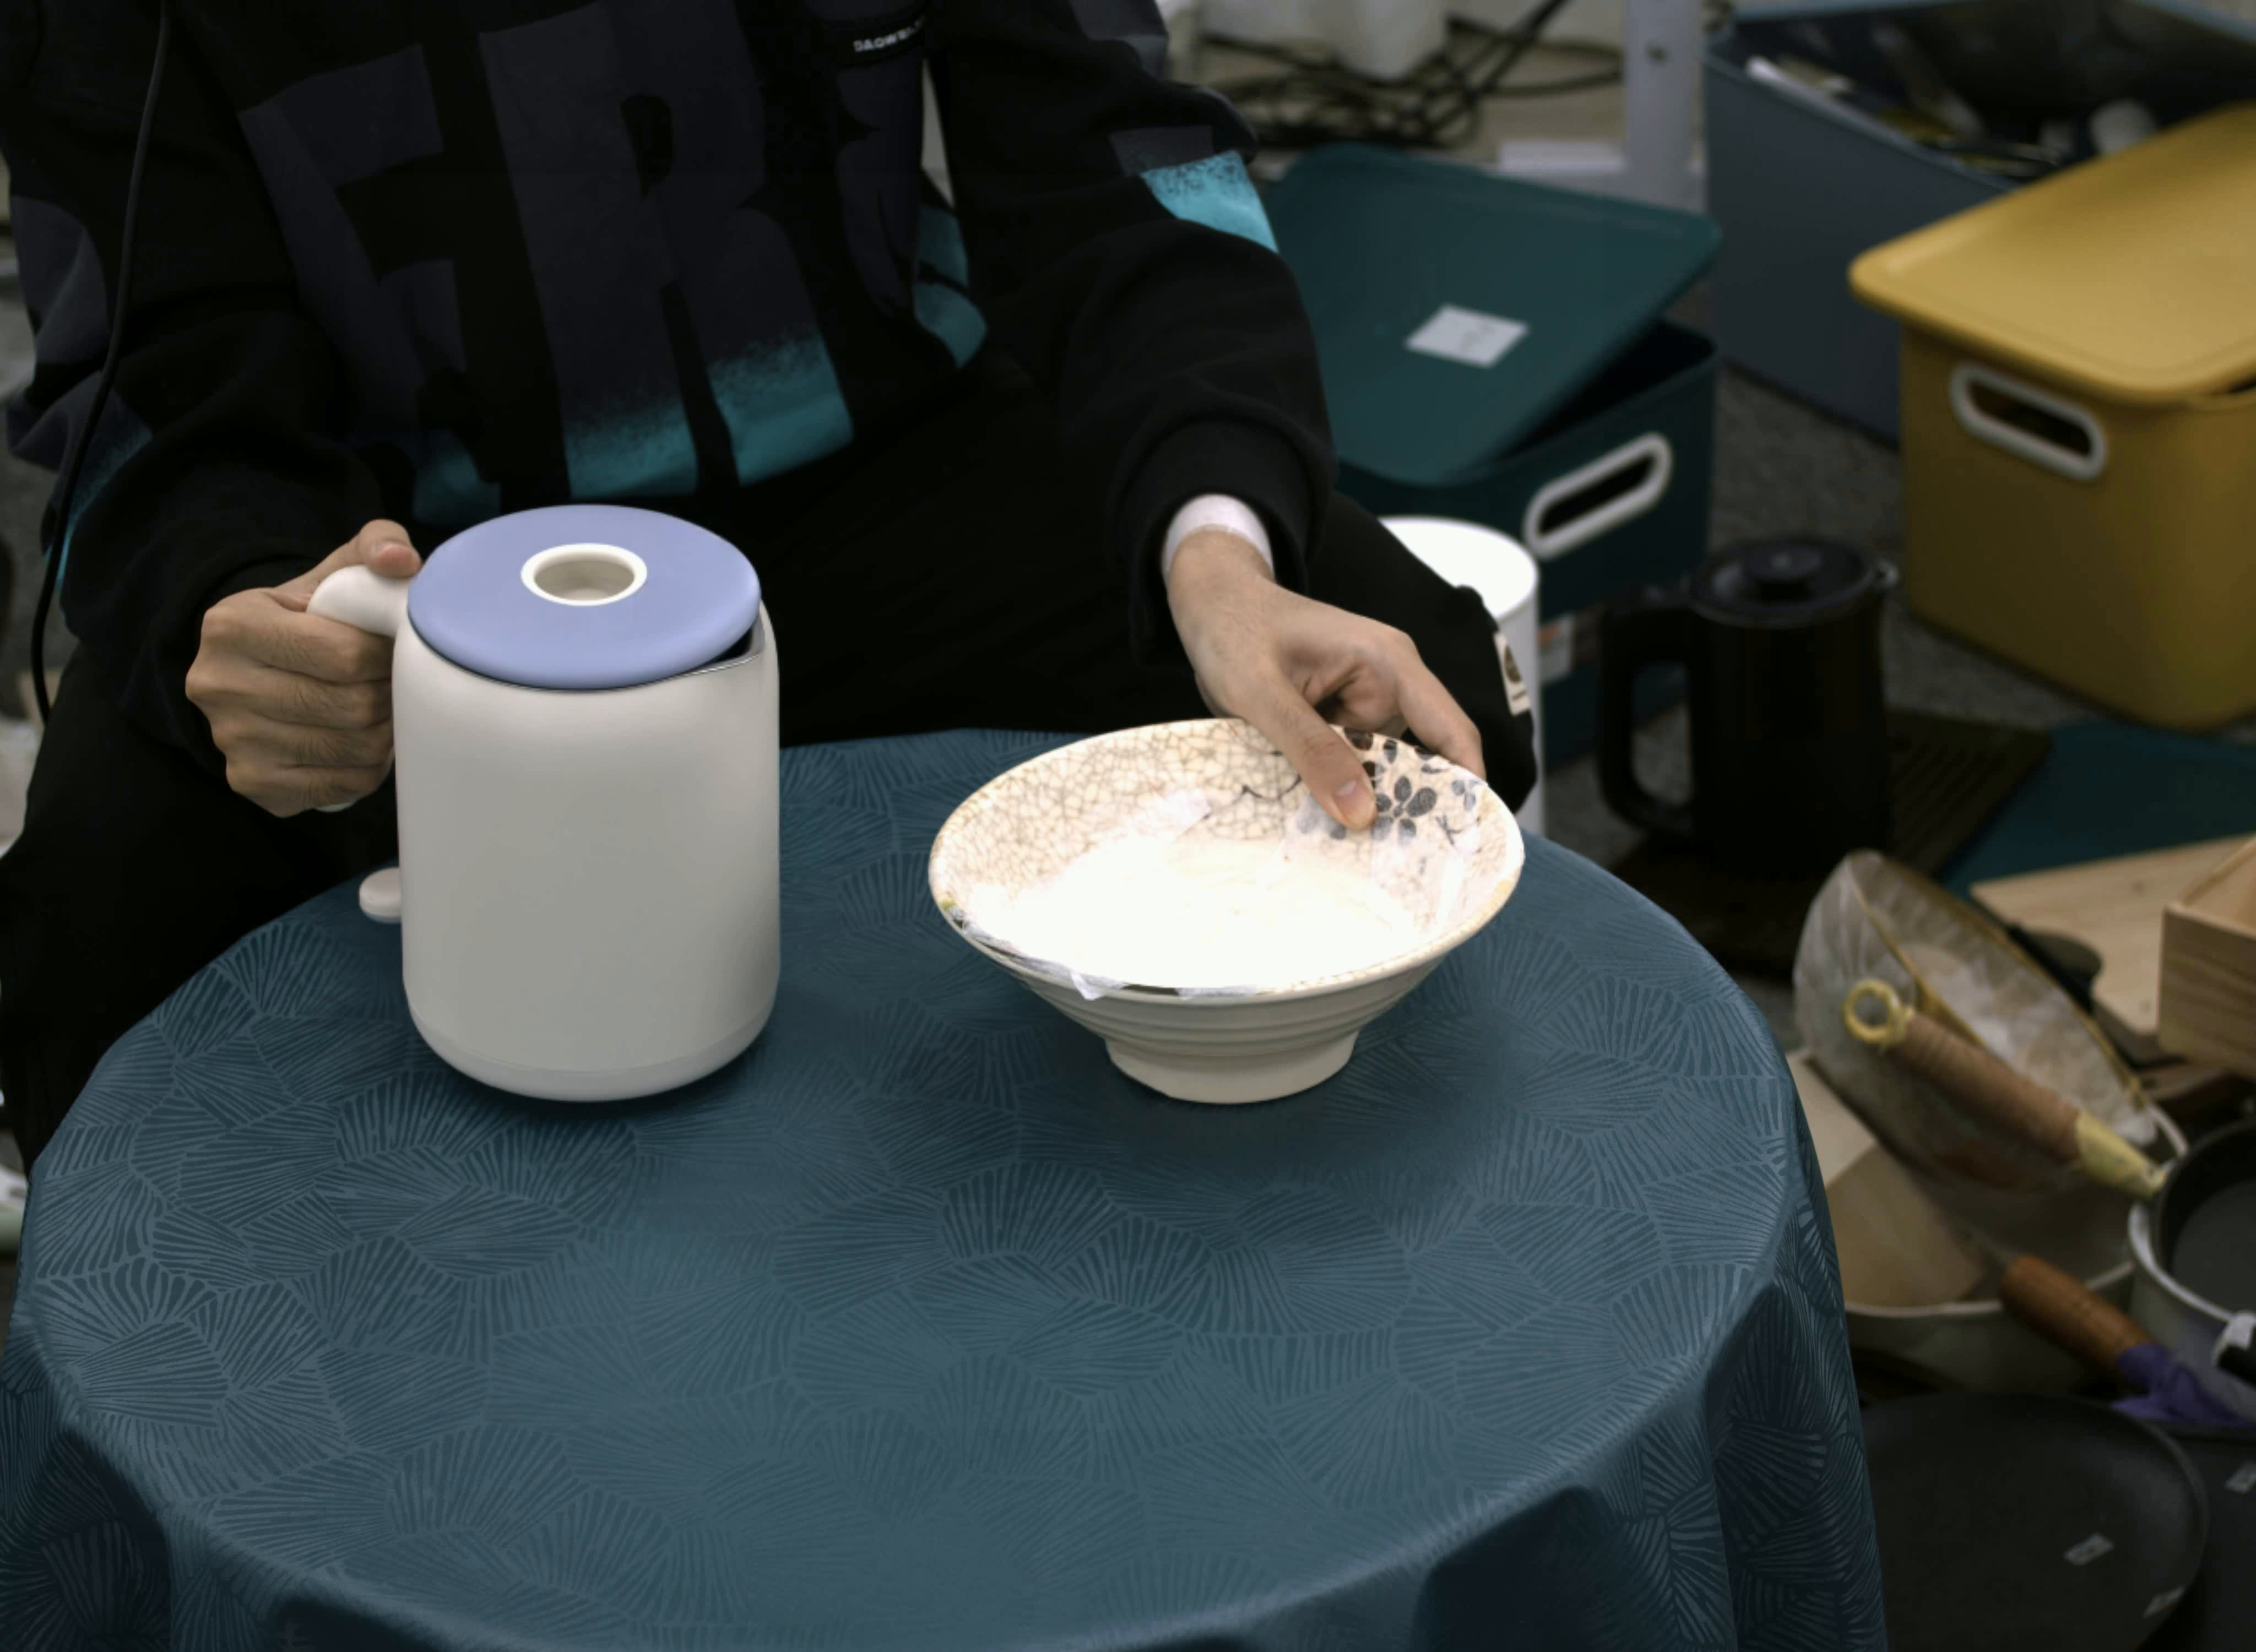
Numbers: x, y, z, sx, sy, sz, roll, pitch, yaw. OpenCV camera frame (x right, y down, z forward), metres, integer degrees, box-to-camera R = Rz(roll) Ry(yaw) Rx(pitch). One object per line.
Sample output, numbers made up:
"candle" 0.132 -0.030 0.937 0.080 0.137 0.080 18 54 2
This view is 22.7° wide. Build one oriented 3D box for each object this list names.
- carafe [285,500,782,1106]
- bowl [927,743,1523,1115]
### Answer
"carafe" -0.206 -0.013 1.928 0.190 0.180 0.134 13 31 22
"bowl" 0.034 0.045 1.925 0.203 0.077 0.207 -1 23 1
